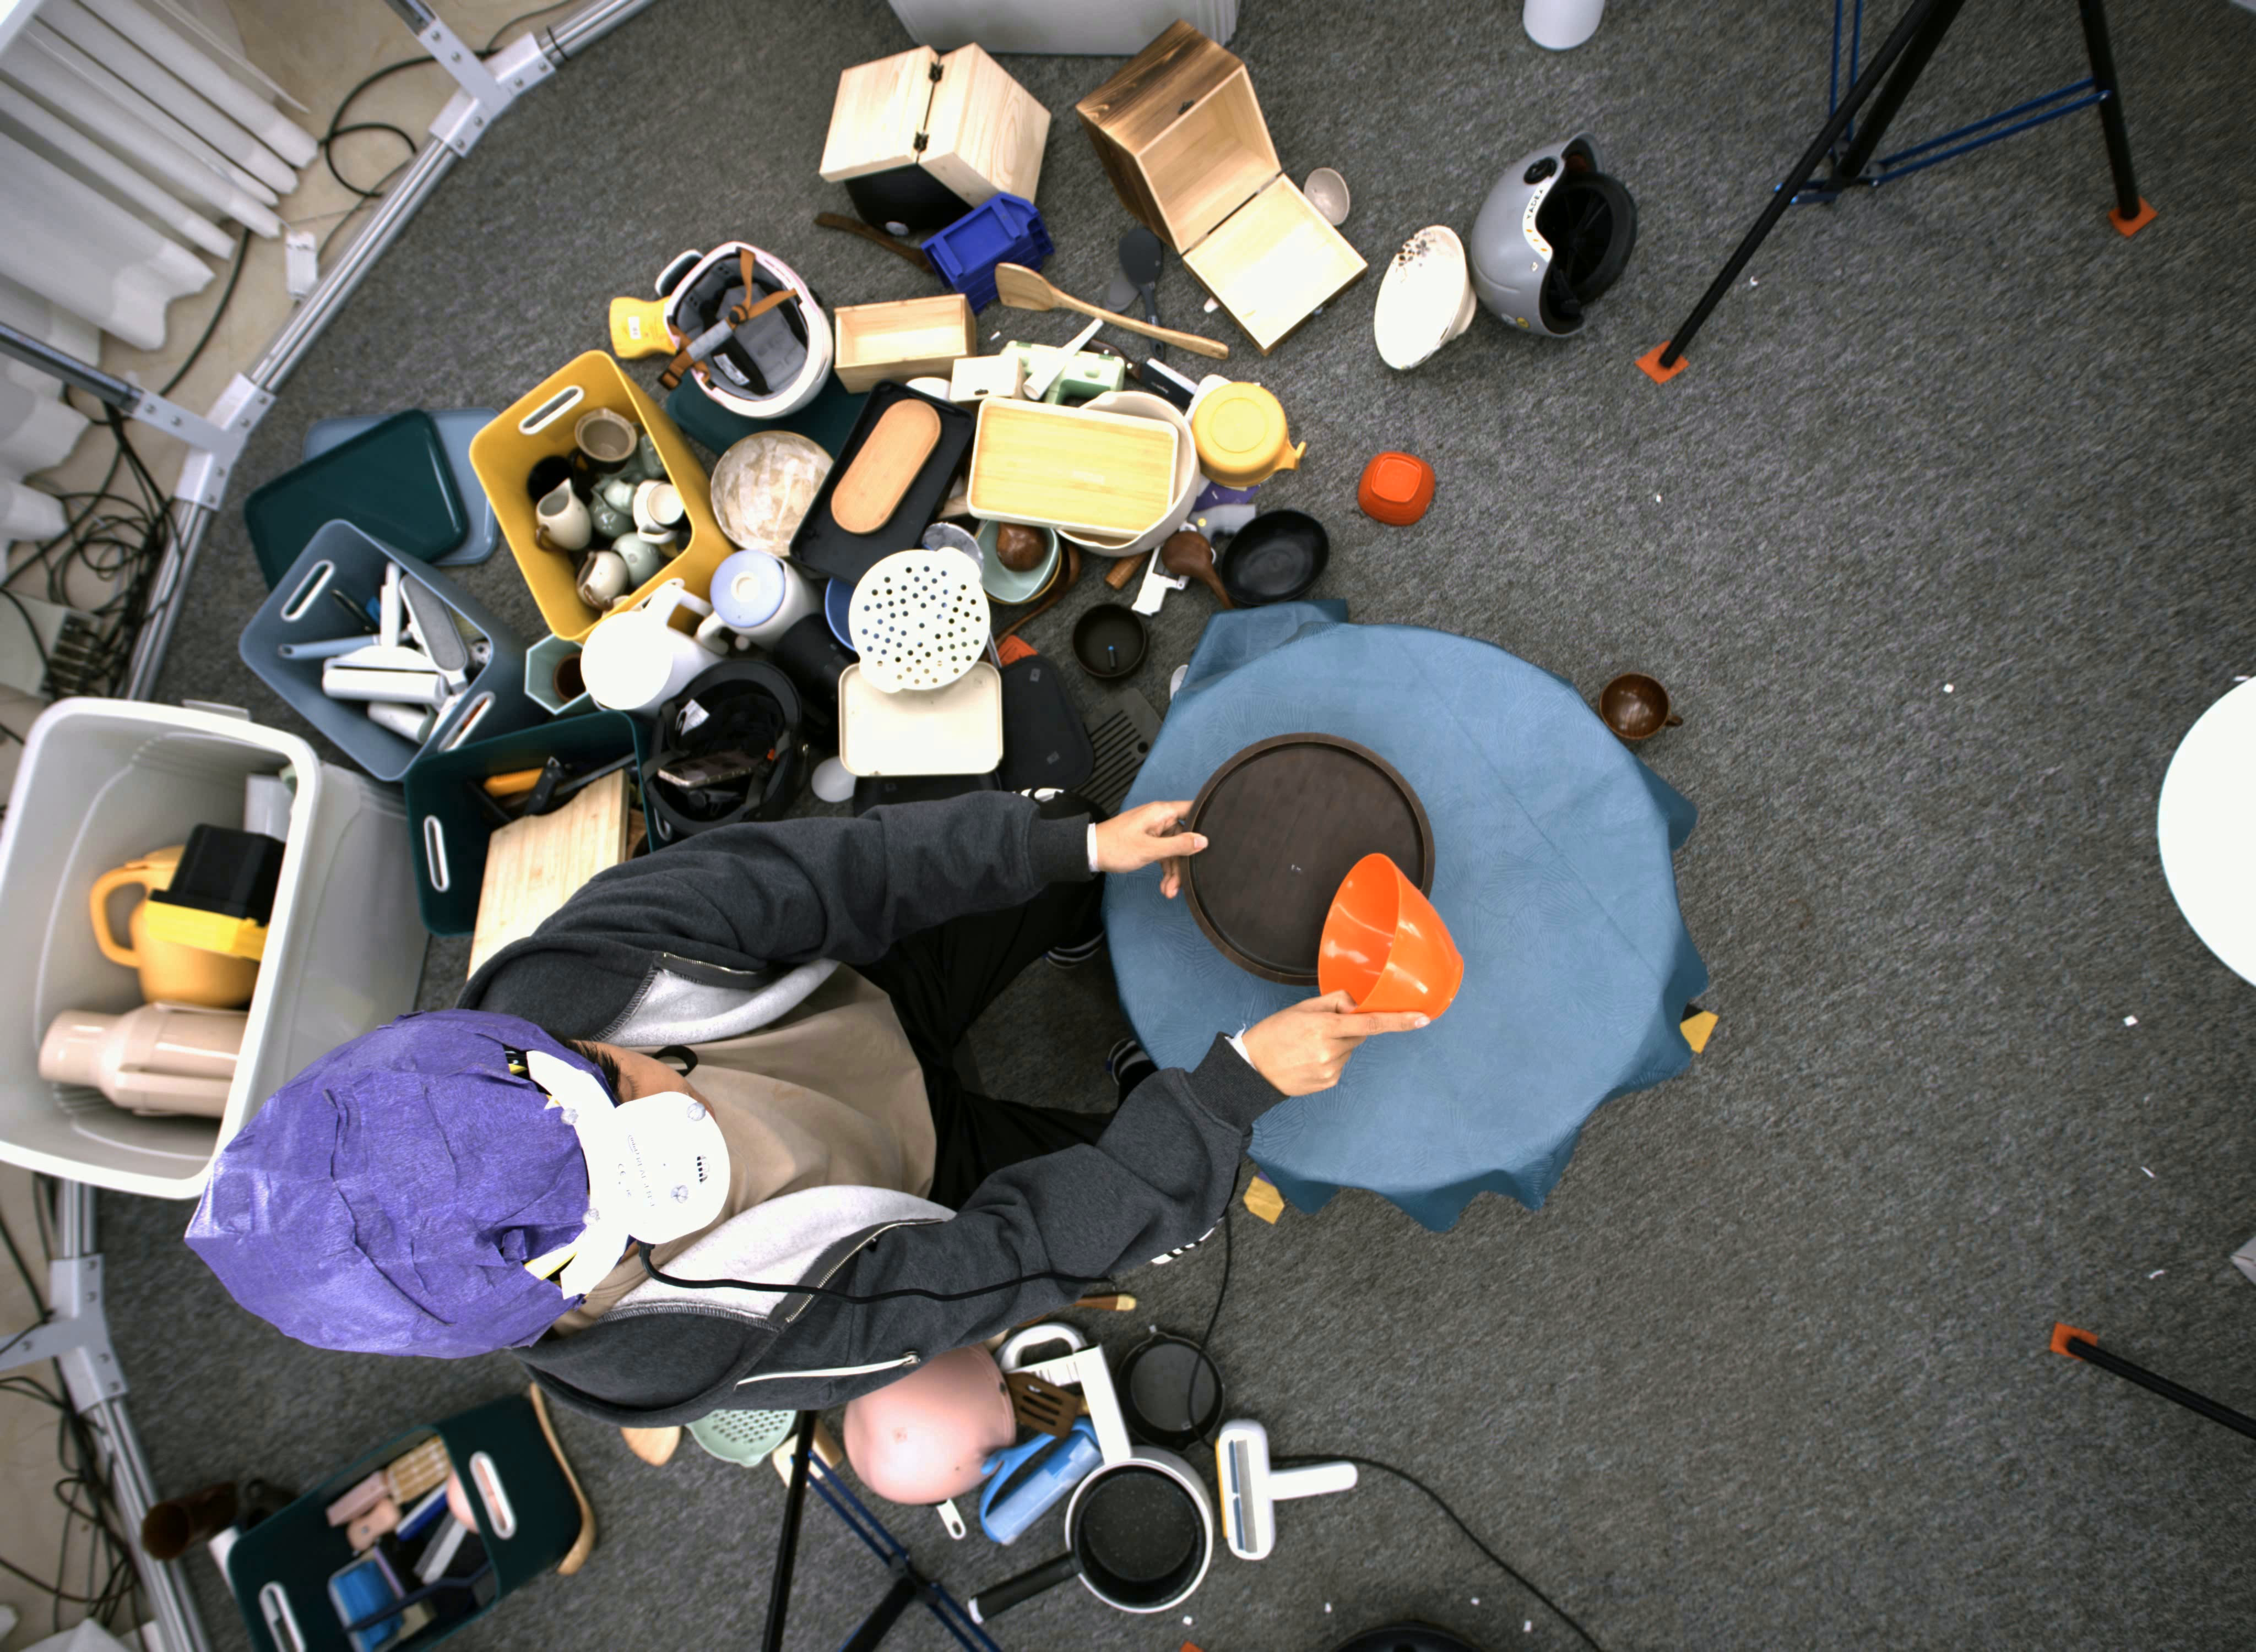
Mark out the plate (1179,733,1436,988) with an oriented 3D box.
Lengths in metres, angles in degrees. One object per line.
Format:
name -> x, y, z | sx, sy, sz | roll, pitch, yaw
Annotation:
plate -> 0.177, 0.033, 1.375 | 0.255, 0.029, 0.255 | 0, 91, 7

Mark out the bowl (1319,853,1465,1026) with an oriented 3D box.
bowl -> 0.241, 0.111, 1.227 | 0.105, 0.148, 0.148 | 26, 90, -12
